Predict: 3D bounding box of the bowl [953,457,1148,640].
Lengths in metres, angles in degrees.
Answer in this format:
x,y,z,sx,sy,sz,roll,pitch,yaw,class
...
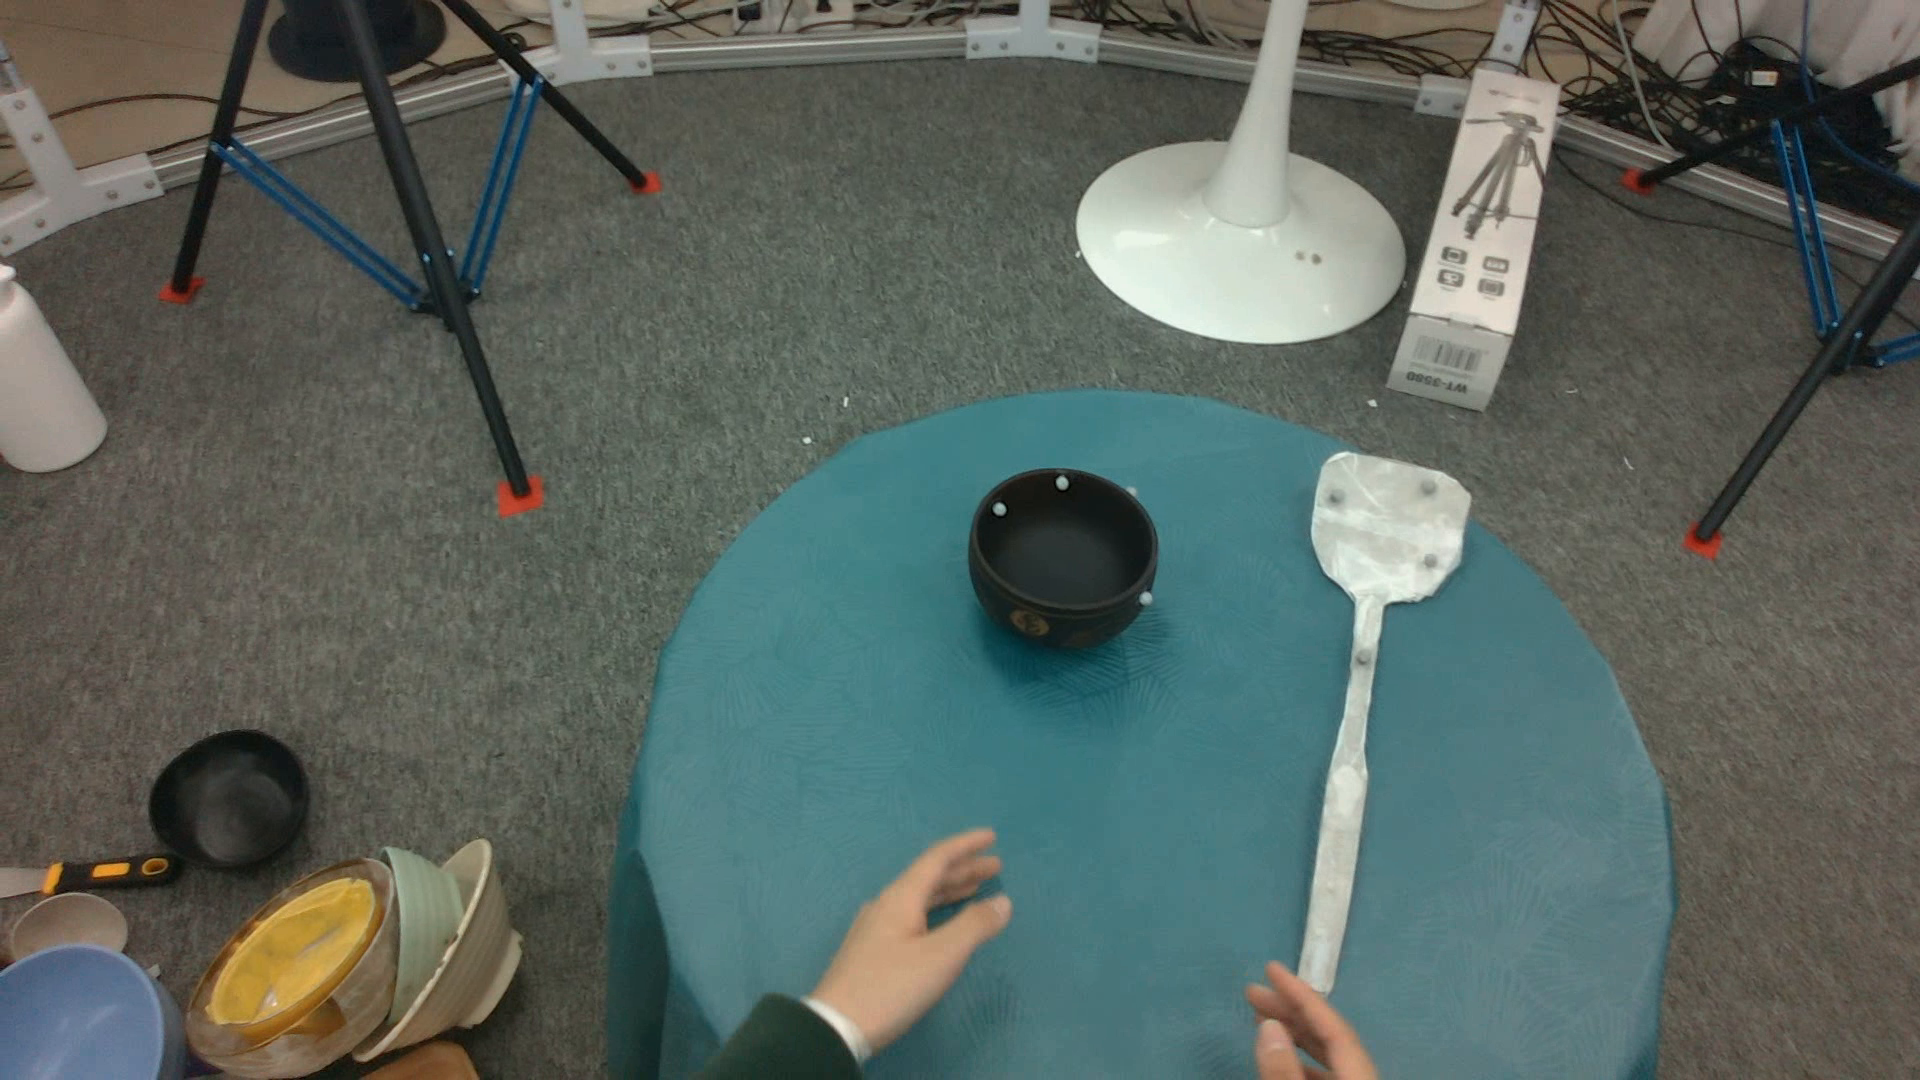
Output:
x,y,z,sx,sy,sz,roll,pitch,yaw,class
0.054,0.013,0.854,0.118,0.069,0.118,1,49,-1,bowl

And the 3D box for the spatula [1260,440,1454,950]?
x,y,z,sx,sy,sz,roll,pitch,yaw,class
0.230,0.079,0.830,0.098,0.044,0.367,18,50,8,spatula
